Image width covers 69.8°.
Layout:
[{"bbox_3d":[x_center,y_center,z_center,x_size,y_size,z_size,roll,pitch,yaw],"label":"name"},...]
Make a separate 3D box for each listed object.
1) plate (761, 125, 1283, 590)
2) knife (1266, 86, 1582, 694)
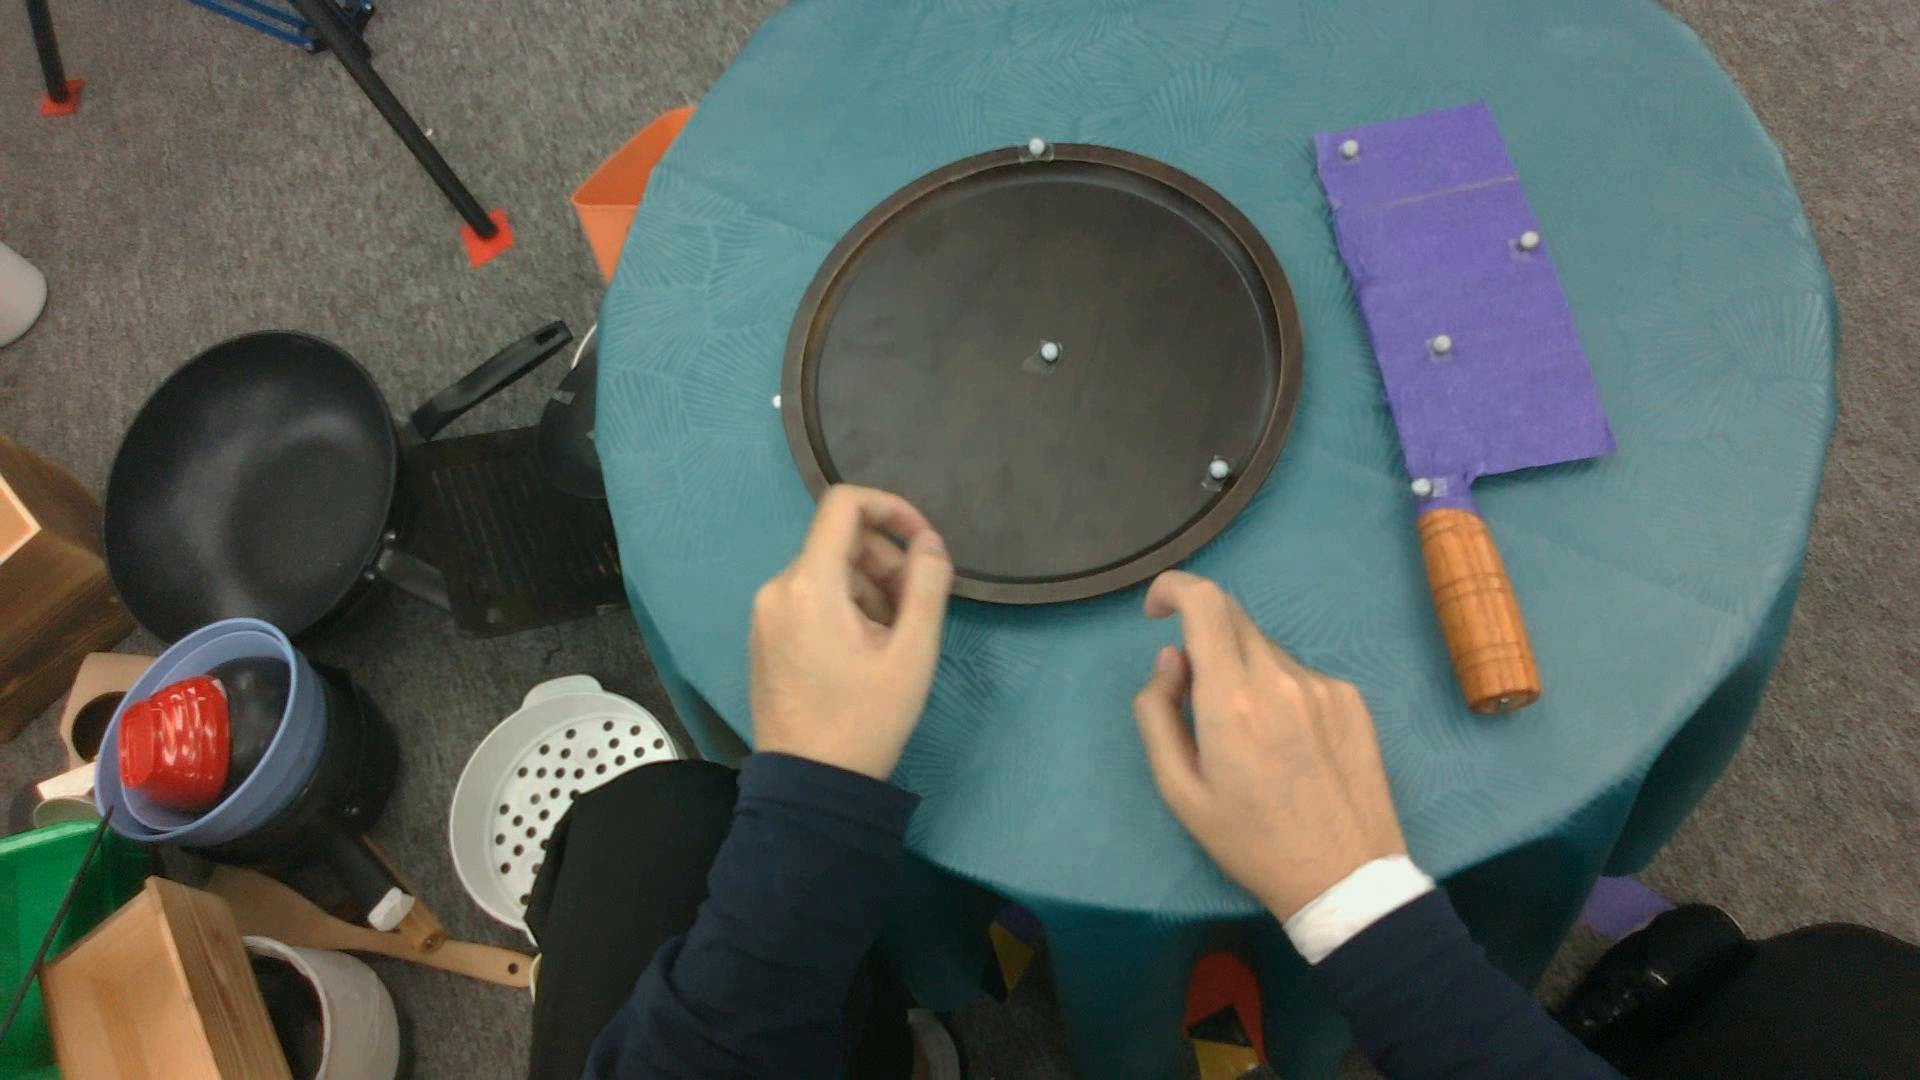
[{"bbox_3d":[0.028,-0.093,0.671,0.254,0.029,0.255,-3,66,7],"label":"plate"},{"bbox_3d":[0.228,-0.087,0.636,0.104,0.032,0.316,-11,66,4],"label":"knife"}]
